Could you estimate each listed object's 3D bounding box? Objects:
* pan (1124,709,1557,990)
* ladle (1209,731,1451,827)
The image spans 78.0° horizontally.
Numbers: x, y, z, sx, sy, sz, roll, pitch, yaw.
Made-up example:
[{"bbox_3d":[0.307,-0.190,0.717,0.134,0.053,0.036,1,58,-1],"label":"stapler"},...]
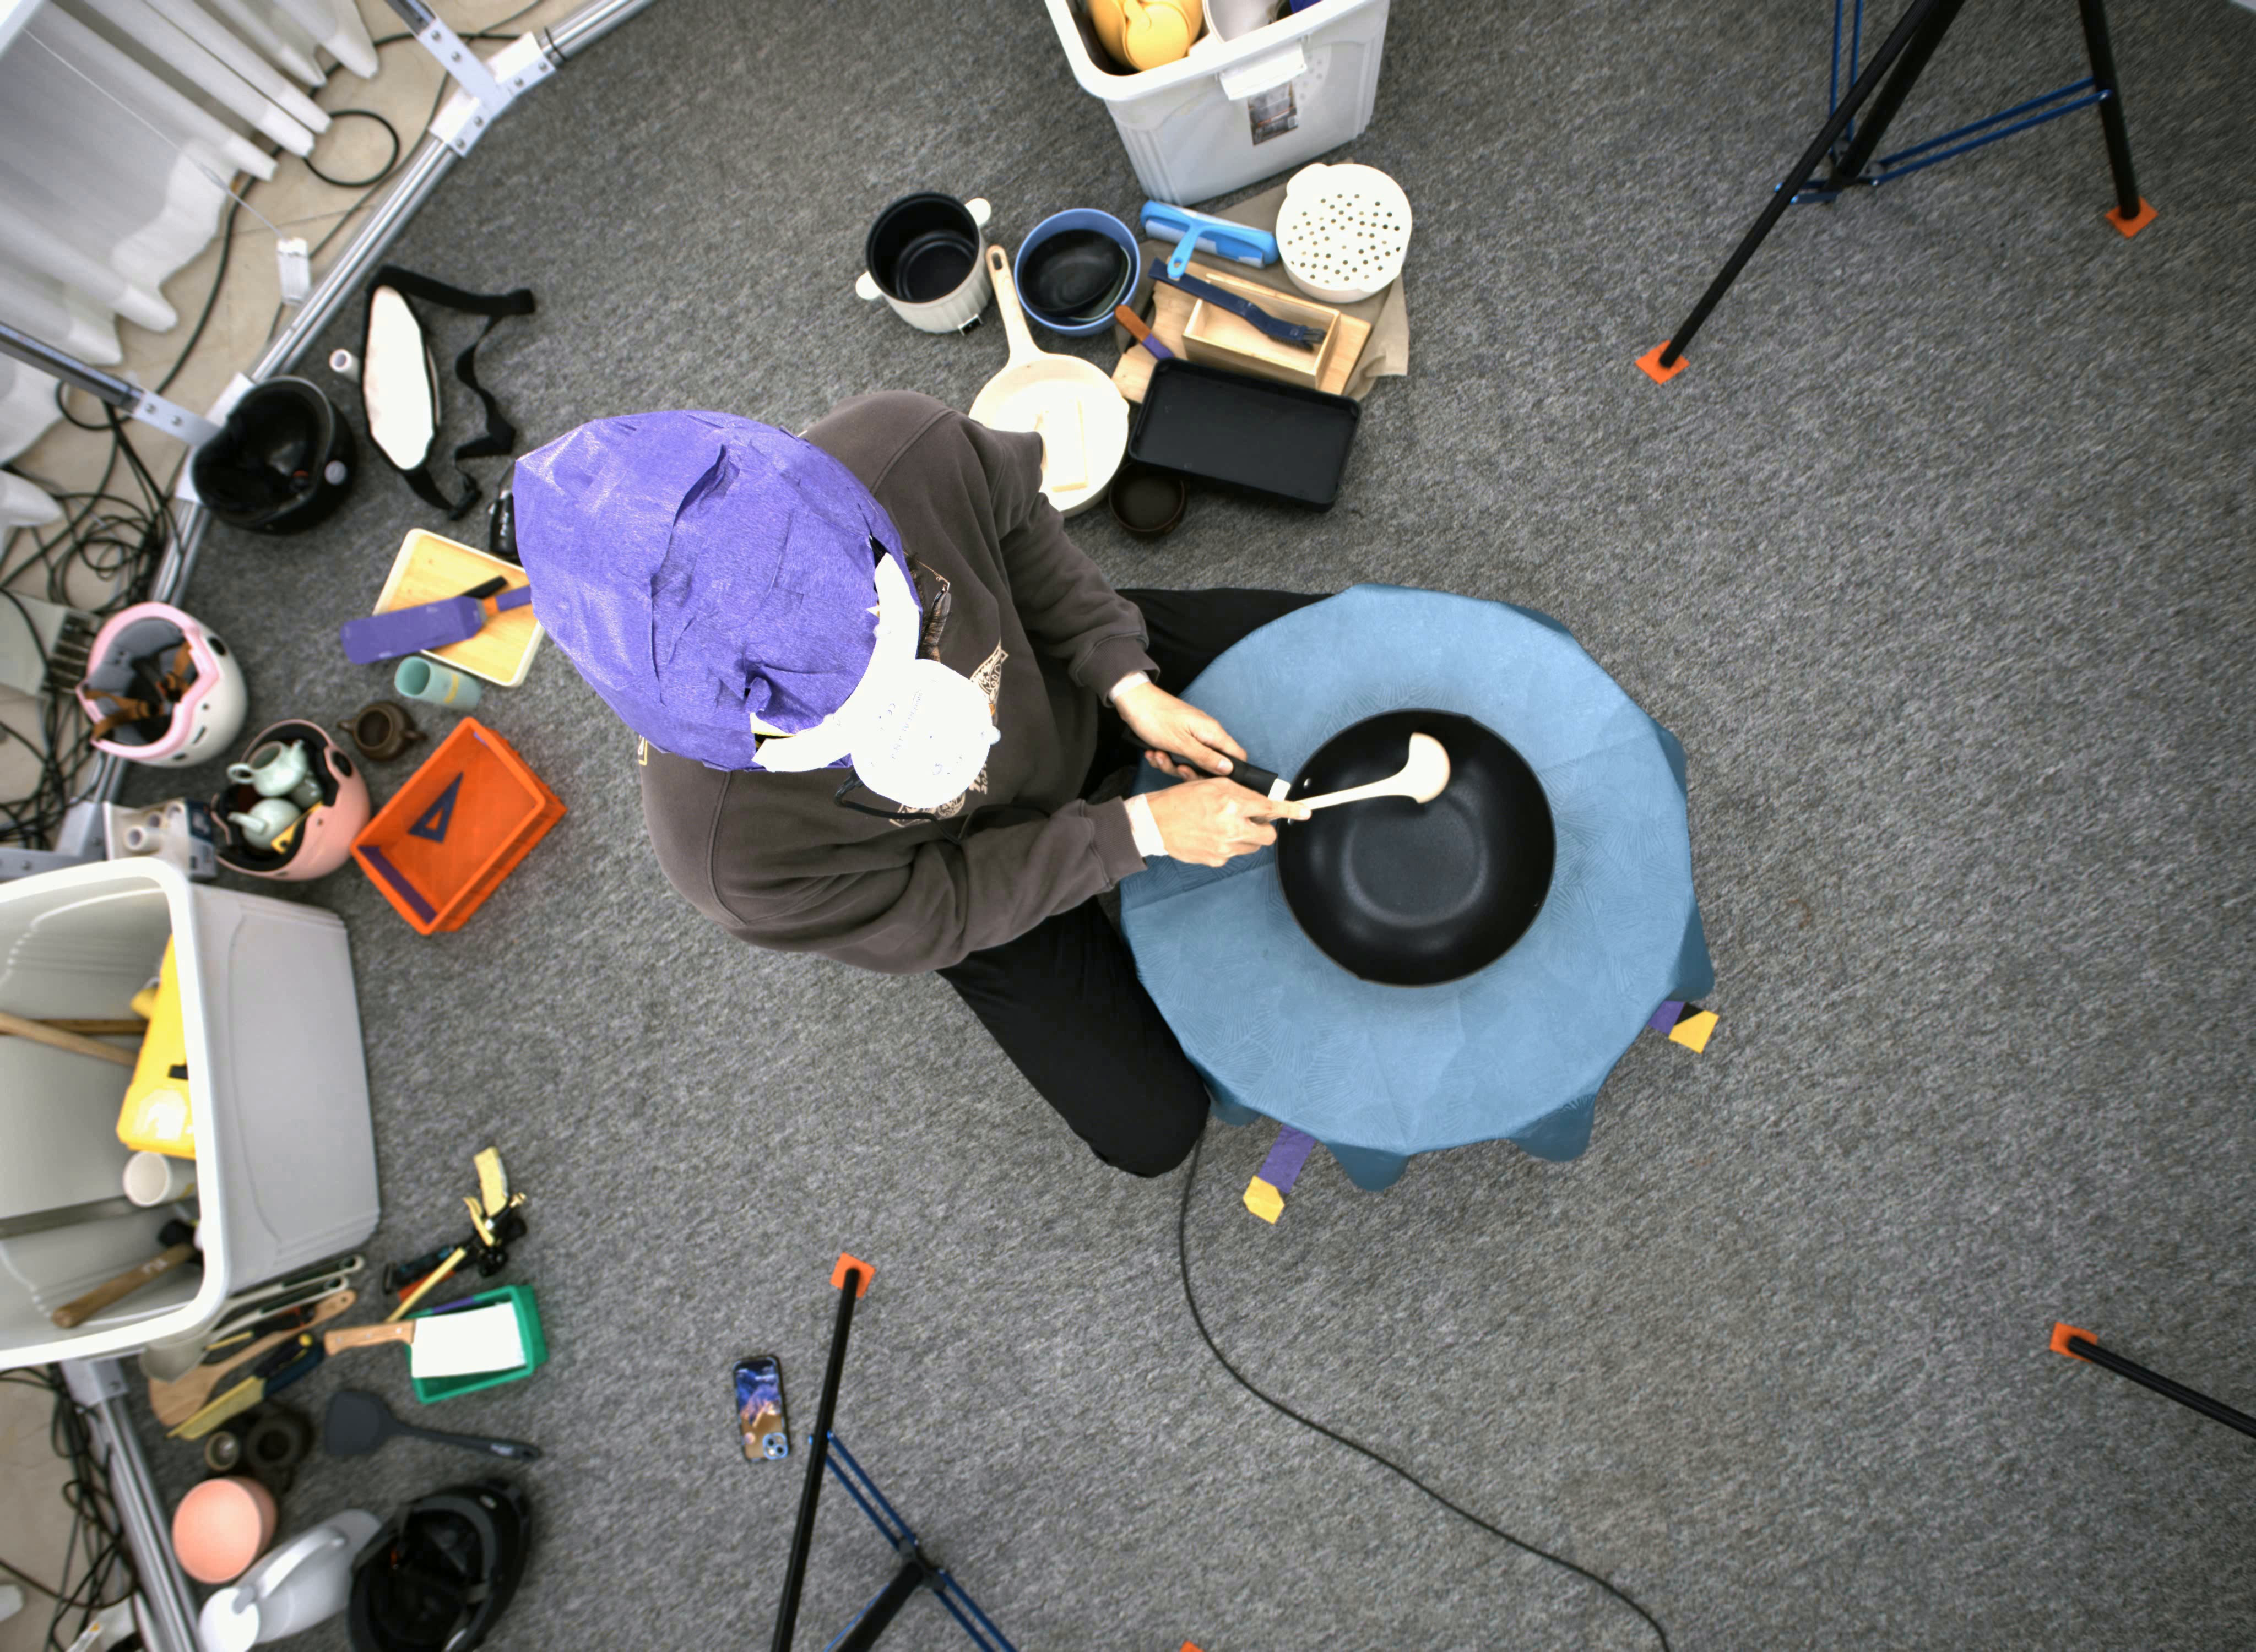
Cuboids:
[{"bbox_3d":[0.210,-0.011,1.432,0.463,0.087,0.288,24,92,13],"label":"pan"},{"bbox_3d":[0.201,-0.043,1.402,0.254,0.071,0.073,-11,114,-1],"label":"ladle"}]
